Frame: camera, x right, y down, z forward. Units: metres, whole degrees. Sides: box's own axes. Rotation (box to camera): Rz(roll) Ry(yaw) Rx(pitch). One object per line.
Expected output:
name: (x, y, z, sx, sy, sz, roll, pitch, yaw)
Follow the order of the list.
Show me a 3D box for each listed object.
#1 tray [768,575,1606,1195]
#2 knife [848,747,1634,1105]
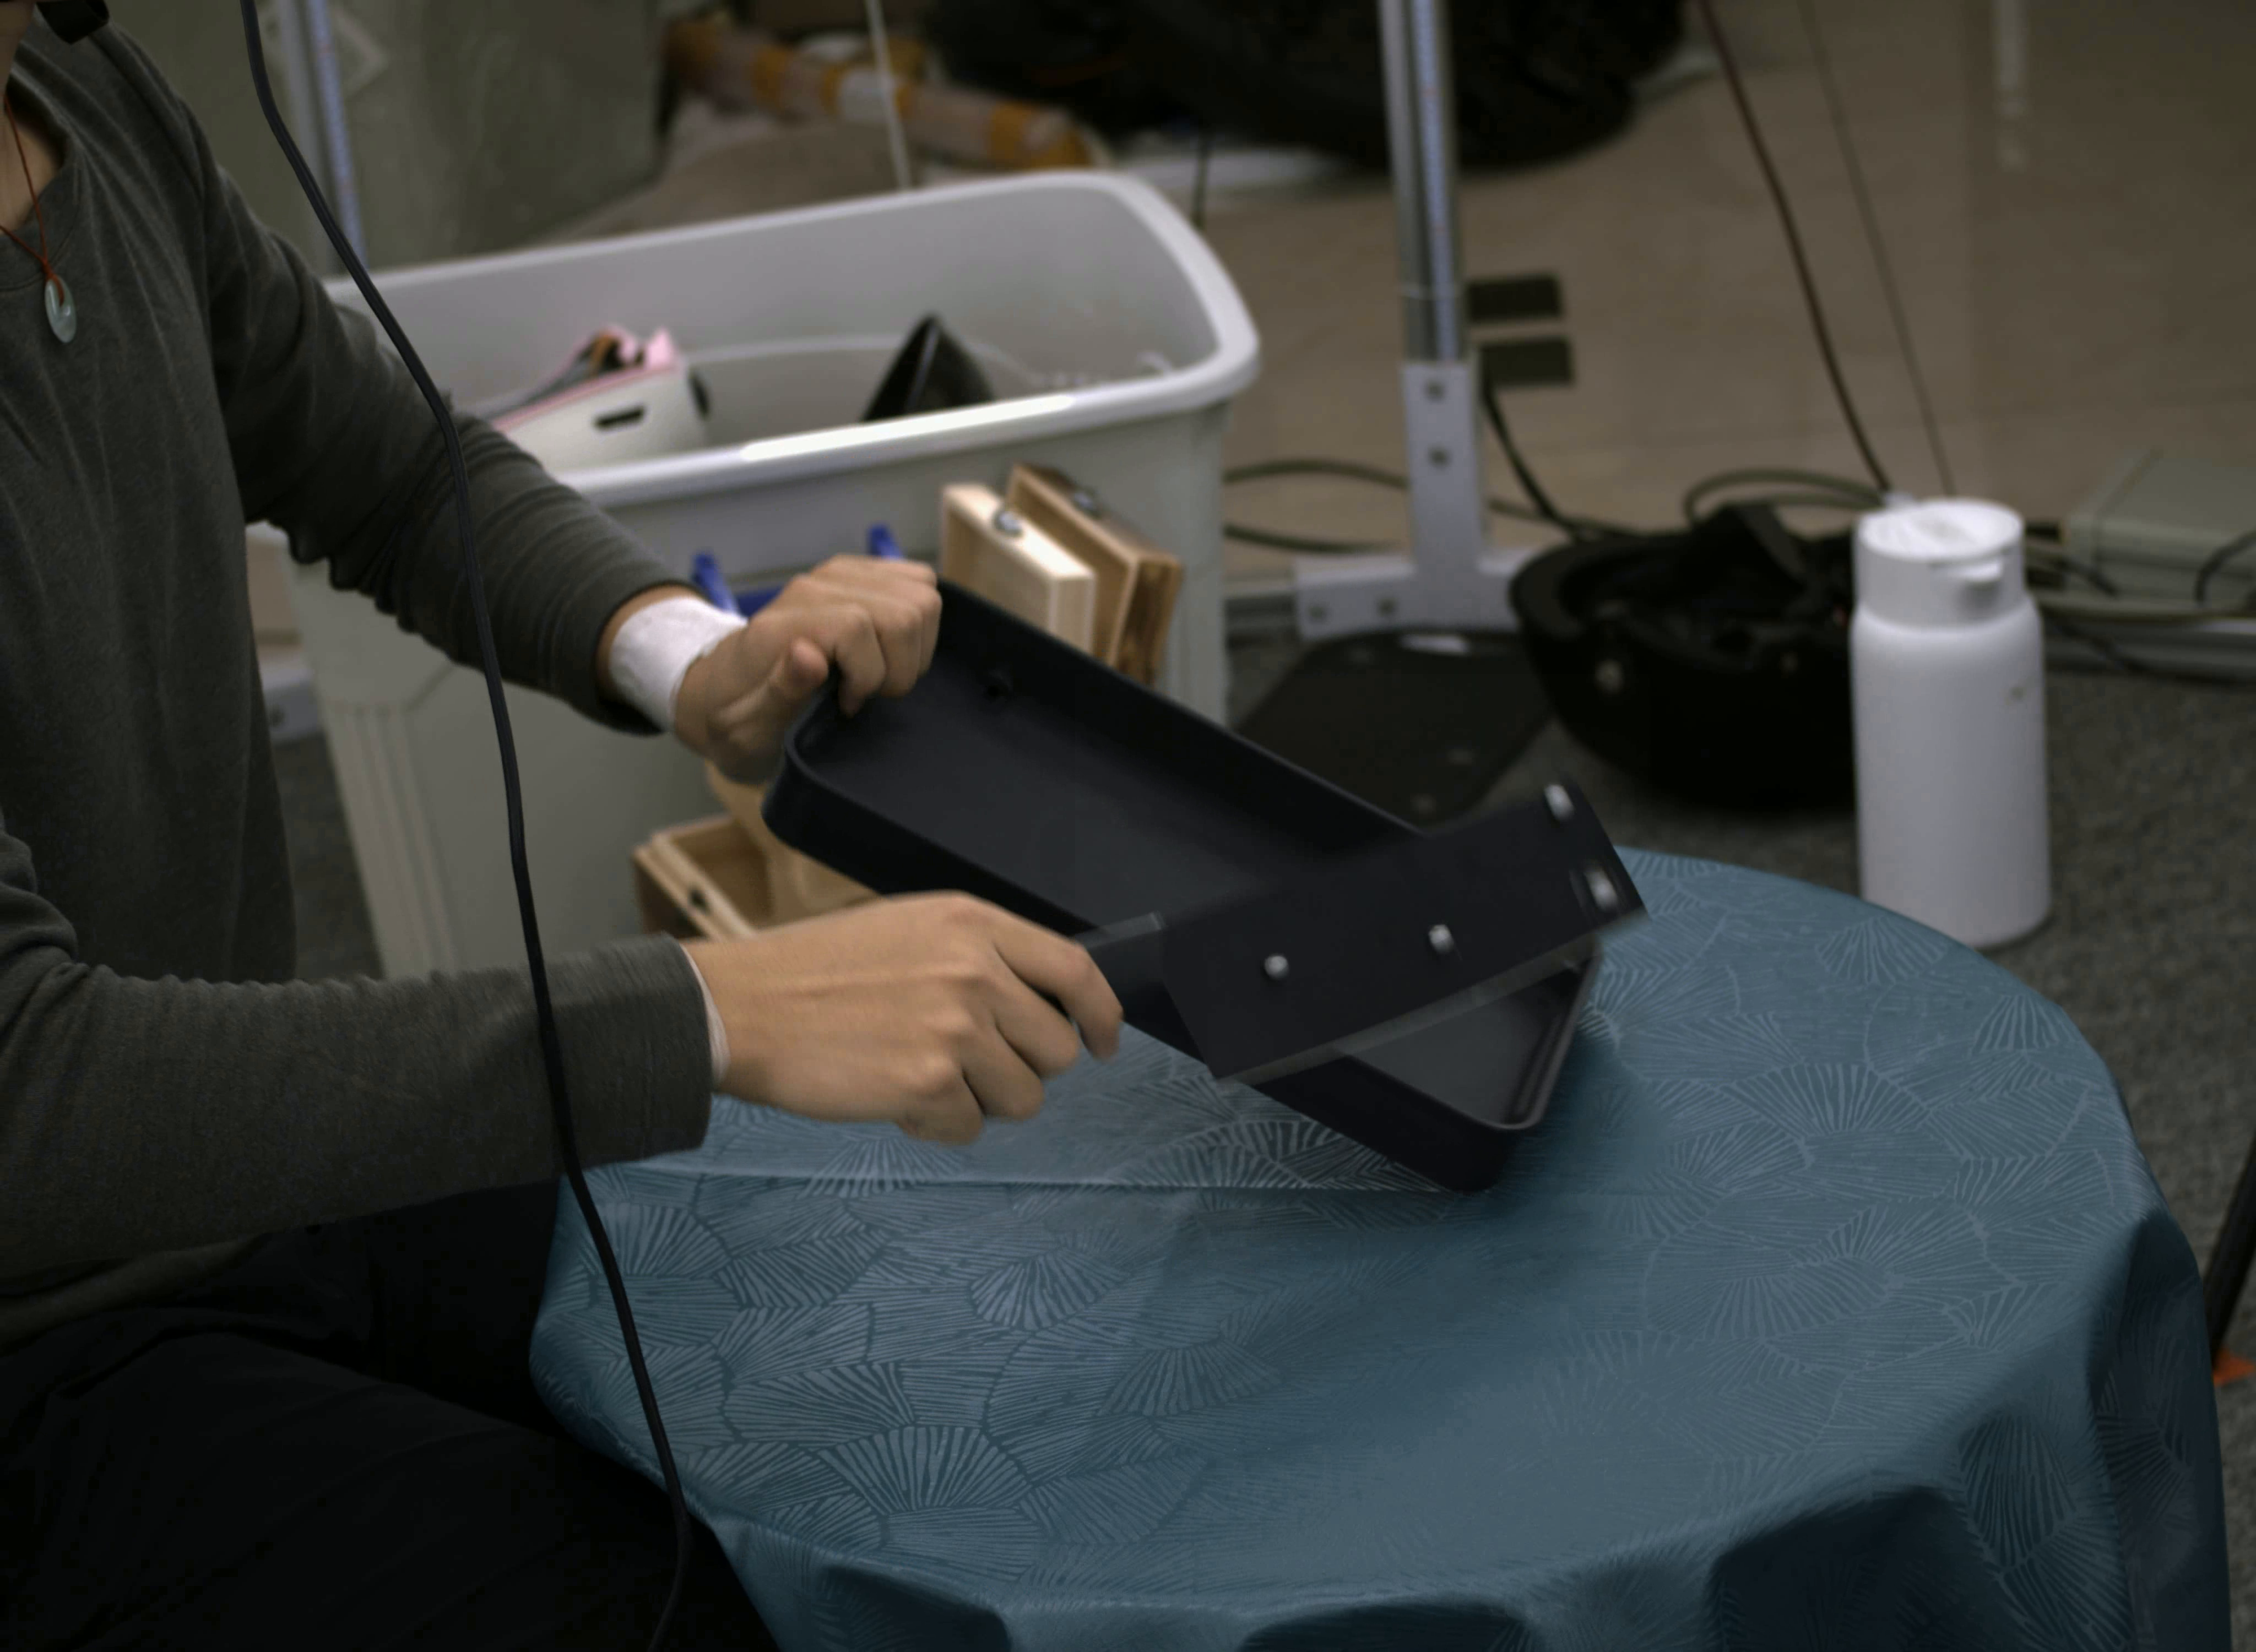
tray: (0.026, 0.020, 2.179, 0.318, 0.037, 0.181, 28, 30, -1)
knife: (0.039, 0.043, 1.999, 0.301, 0.021, 0.080, -17, 70, -19)
